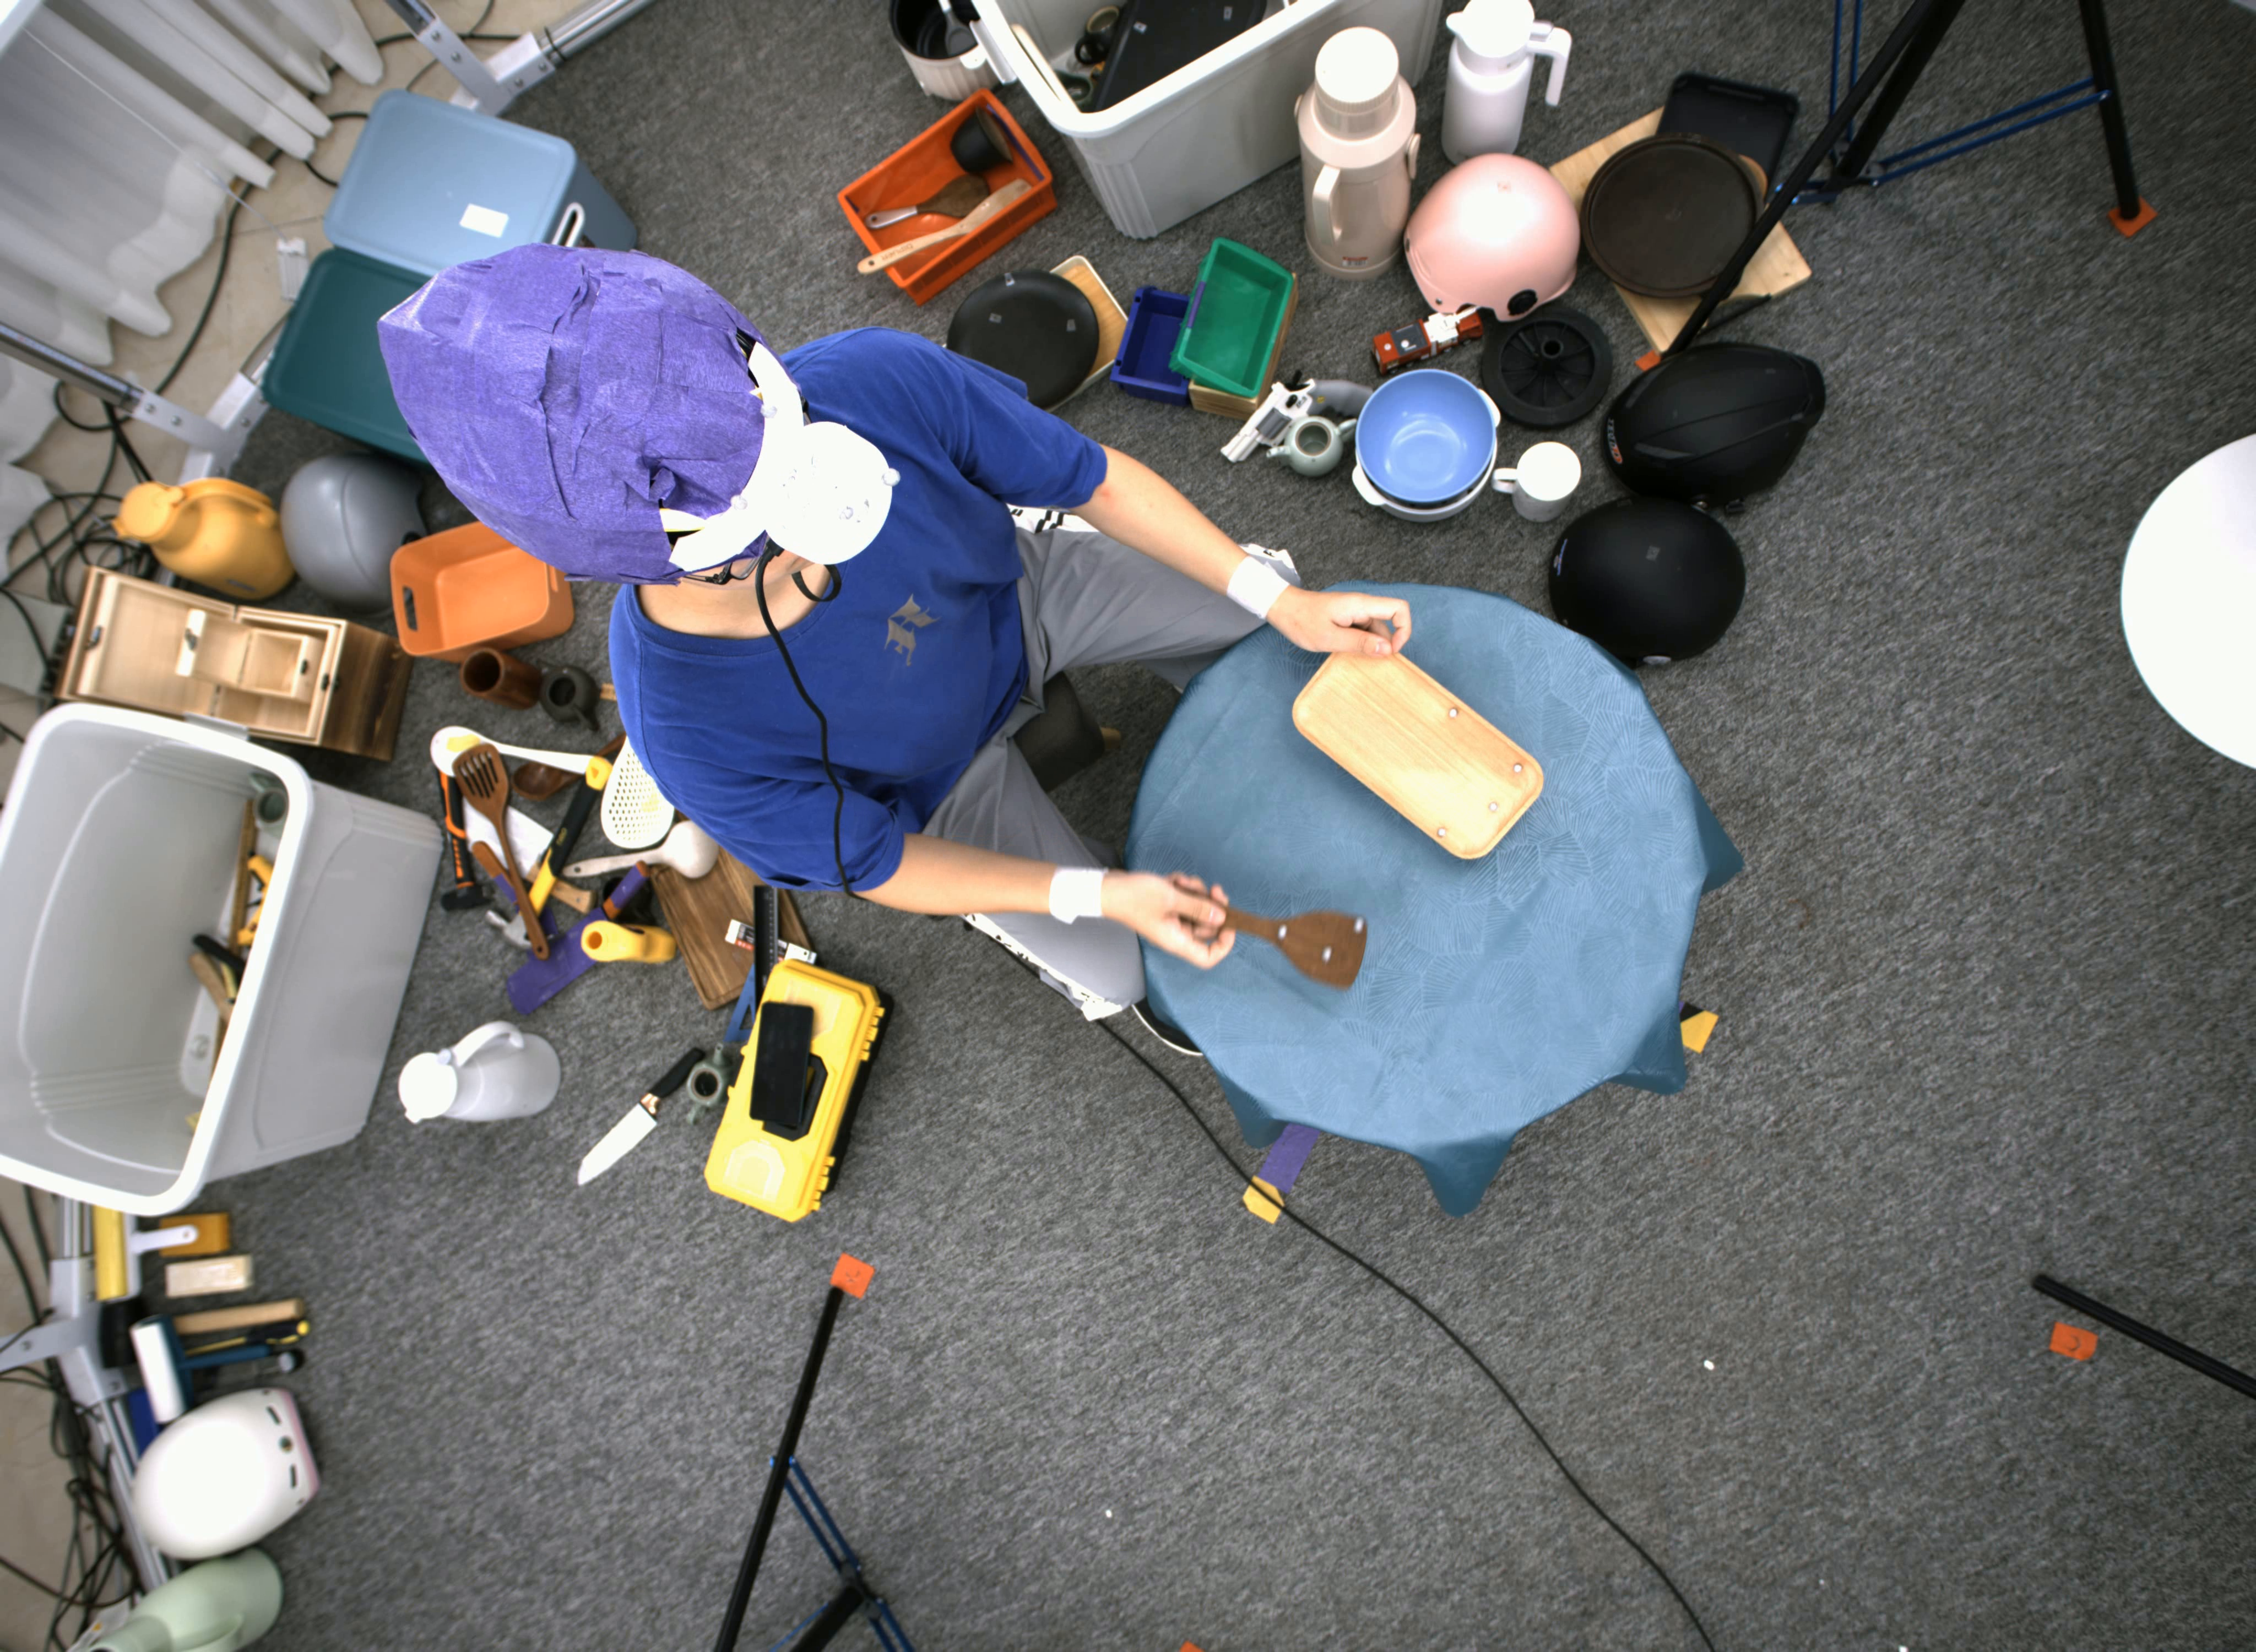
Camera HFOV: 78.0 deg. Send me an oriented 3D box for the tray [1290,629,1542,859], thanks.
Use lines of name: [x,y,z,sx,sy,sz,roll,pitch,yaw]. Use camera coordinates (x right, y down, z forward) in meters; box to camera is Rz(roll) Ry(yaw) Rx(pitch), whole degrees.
tray: [0.289,-0.083,1.384,0.250,0.022,0.133,40,112,3]

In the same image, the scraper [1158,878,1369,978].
scraper: [0.132,0.090,1.374,0.211,0.011,0.075,15,82,10]
